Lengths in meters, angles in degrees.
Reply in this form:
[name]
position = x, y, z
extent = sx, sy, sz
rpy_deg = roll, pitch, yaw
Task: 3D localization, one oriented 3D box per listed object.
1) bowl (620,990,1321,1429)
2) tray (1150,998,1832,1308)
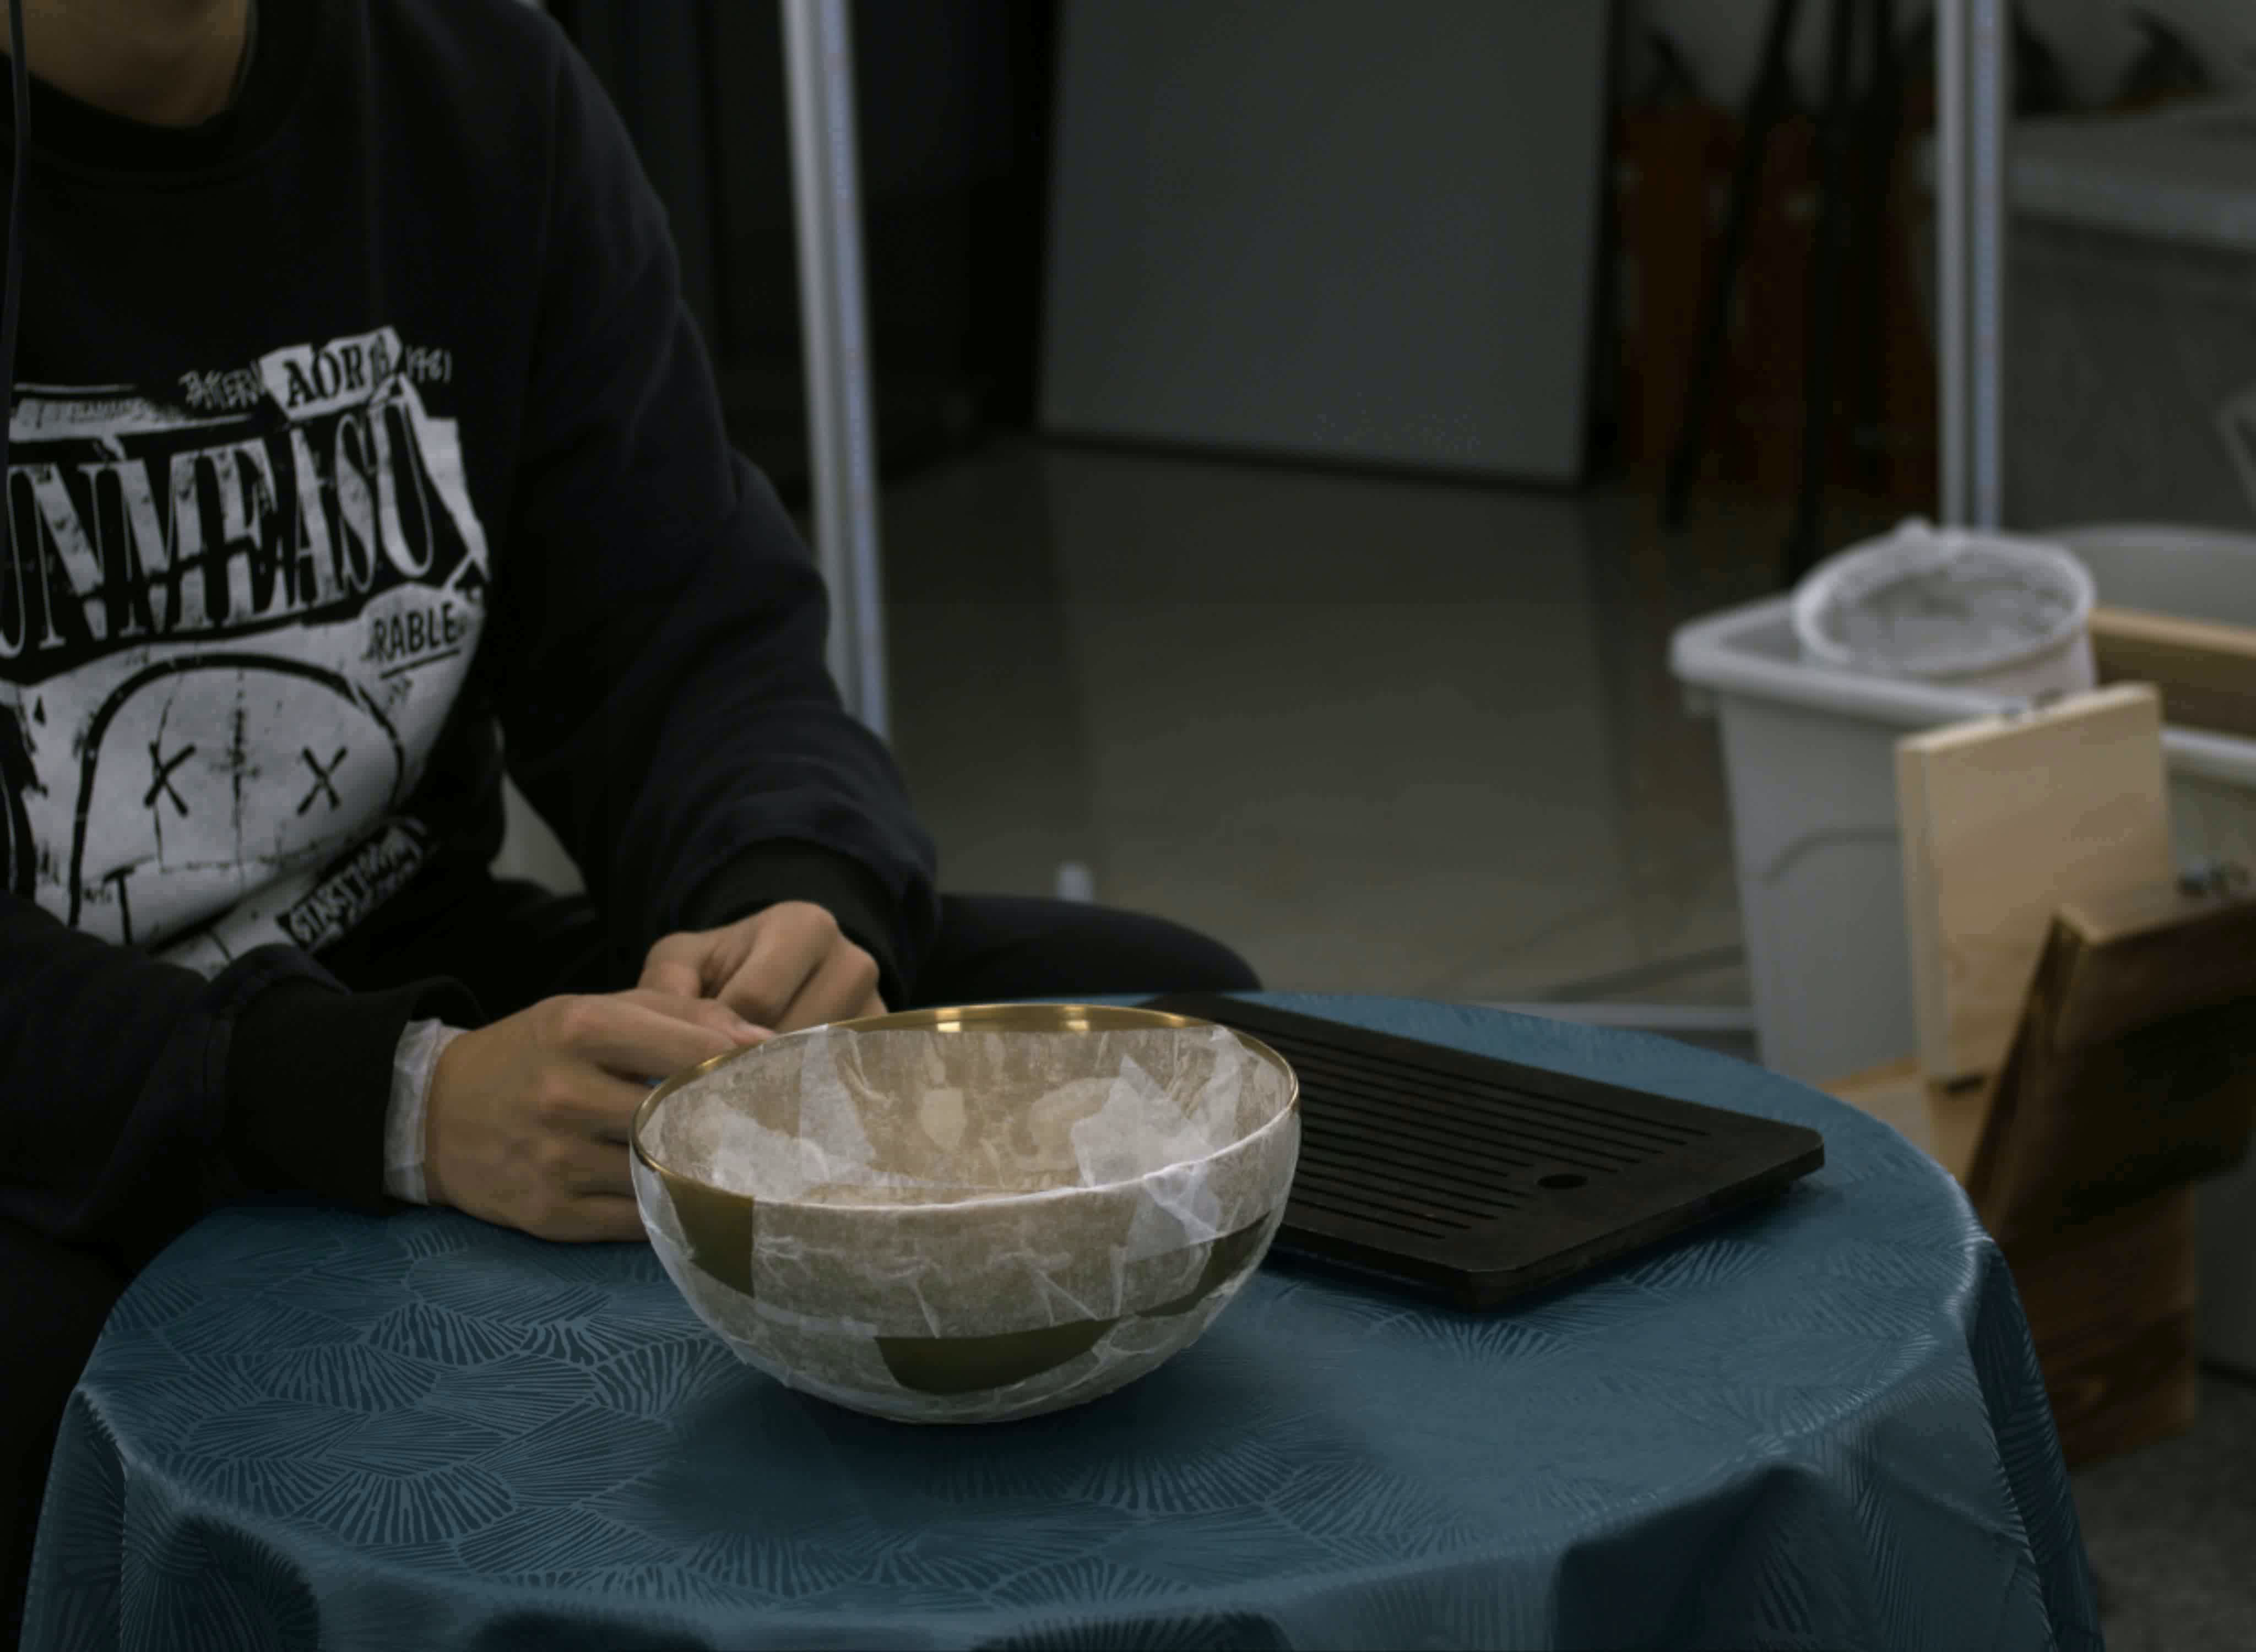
[bowl]
position = -0.044, 0.121, 1.592
extent = 0.212, 0.095, 0.215
rpy_deg = -5, 14, 0
[tray]
position = 0.068, 0.105, 1.781
extent = 0.166, 0.019, 0.309
rpy_deg = -16, 18, -41
